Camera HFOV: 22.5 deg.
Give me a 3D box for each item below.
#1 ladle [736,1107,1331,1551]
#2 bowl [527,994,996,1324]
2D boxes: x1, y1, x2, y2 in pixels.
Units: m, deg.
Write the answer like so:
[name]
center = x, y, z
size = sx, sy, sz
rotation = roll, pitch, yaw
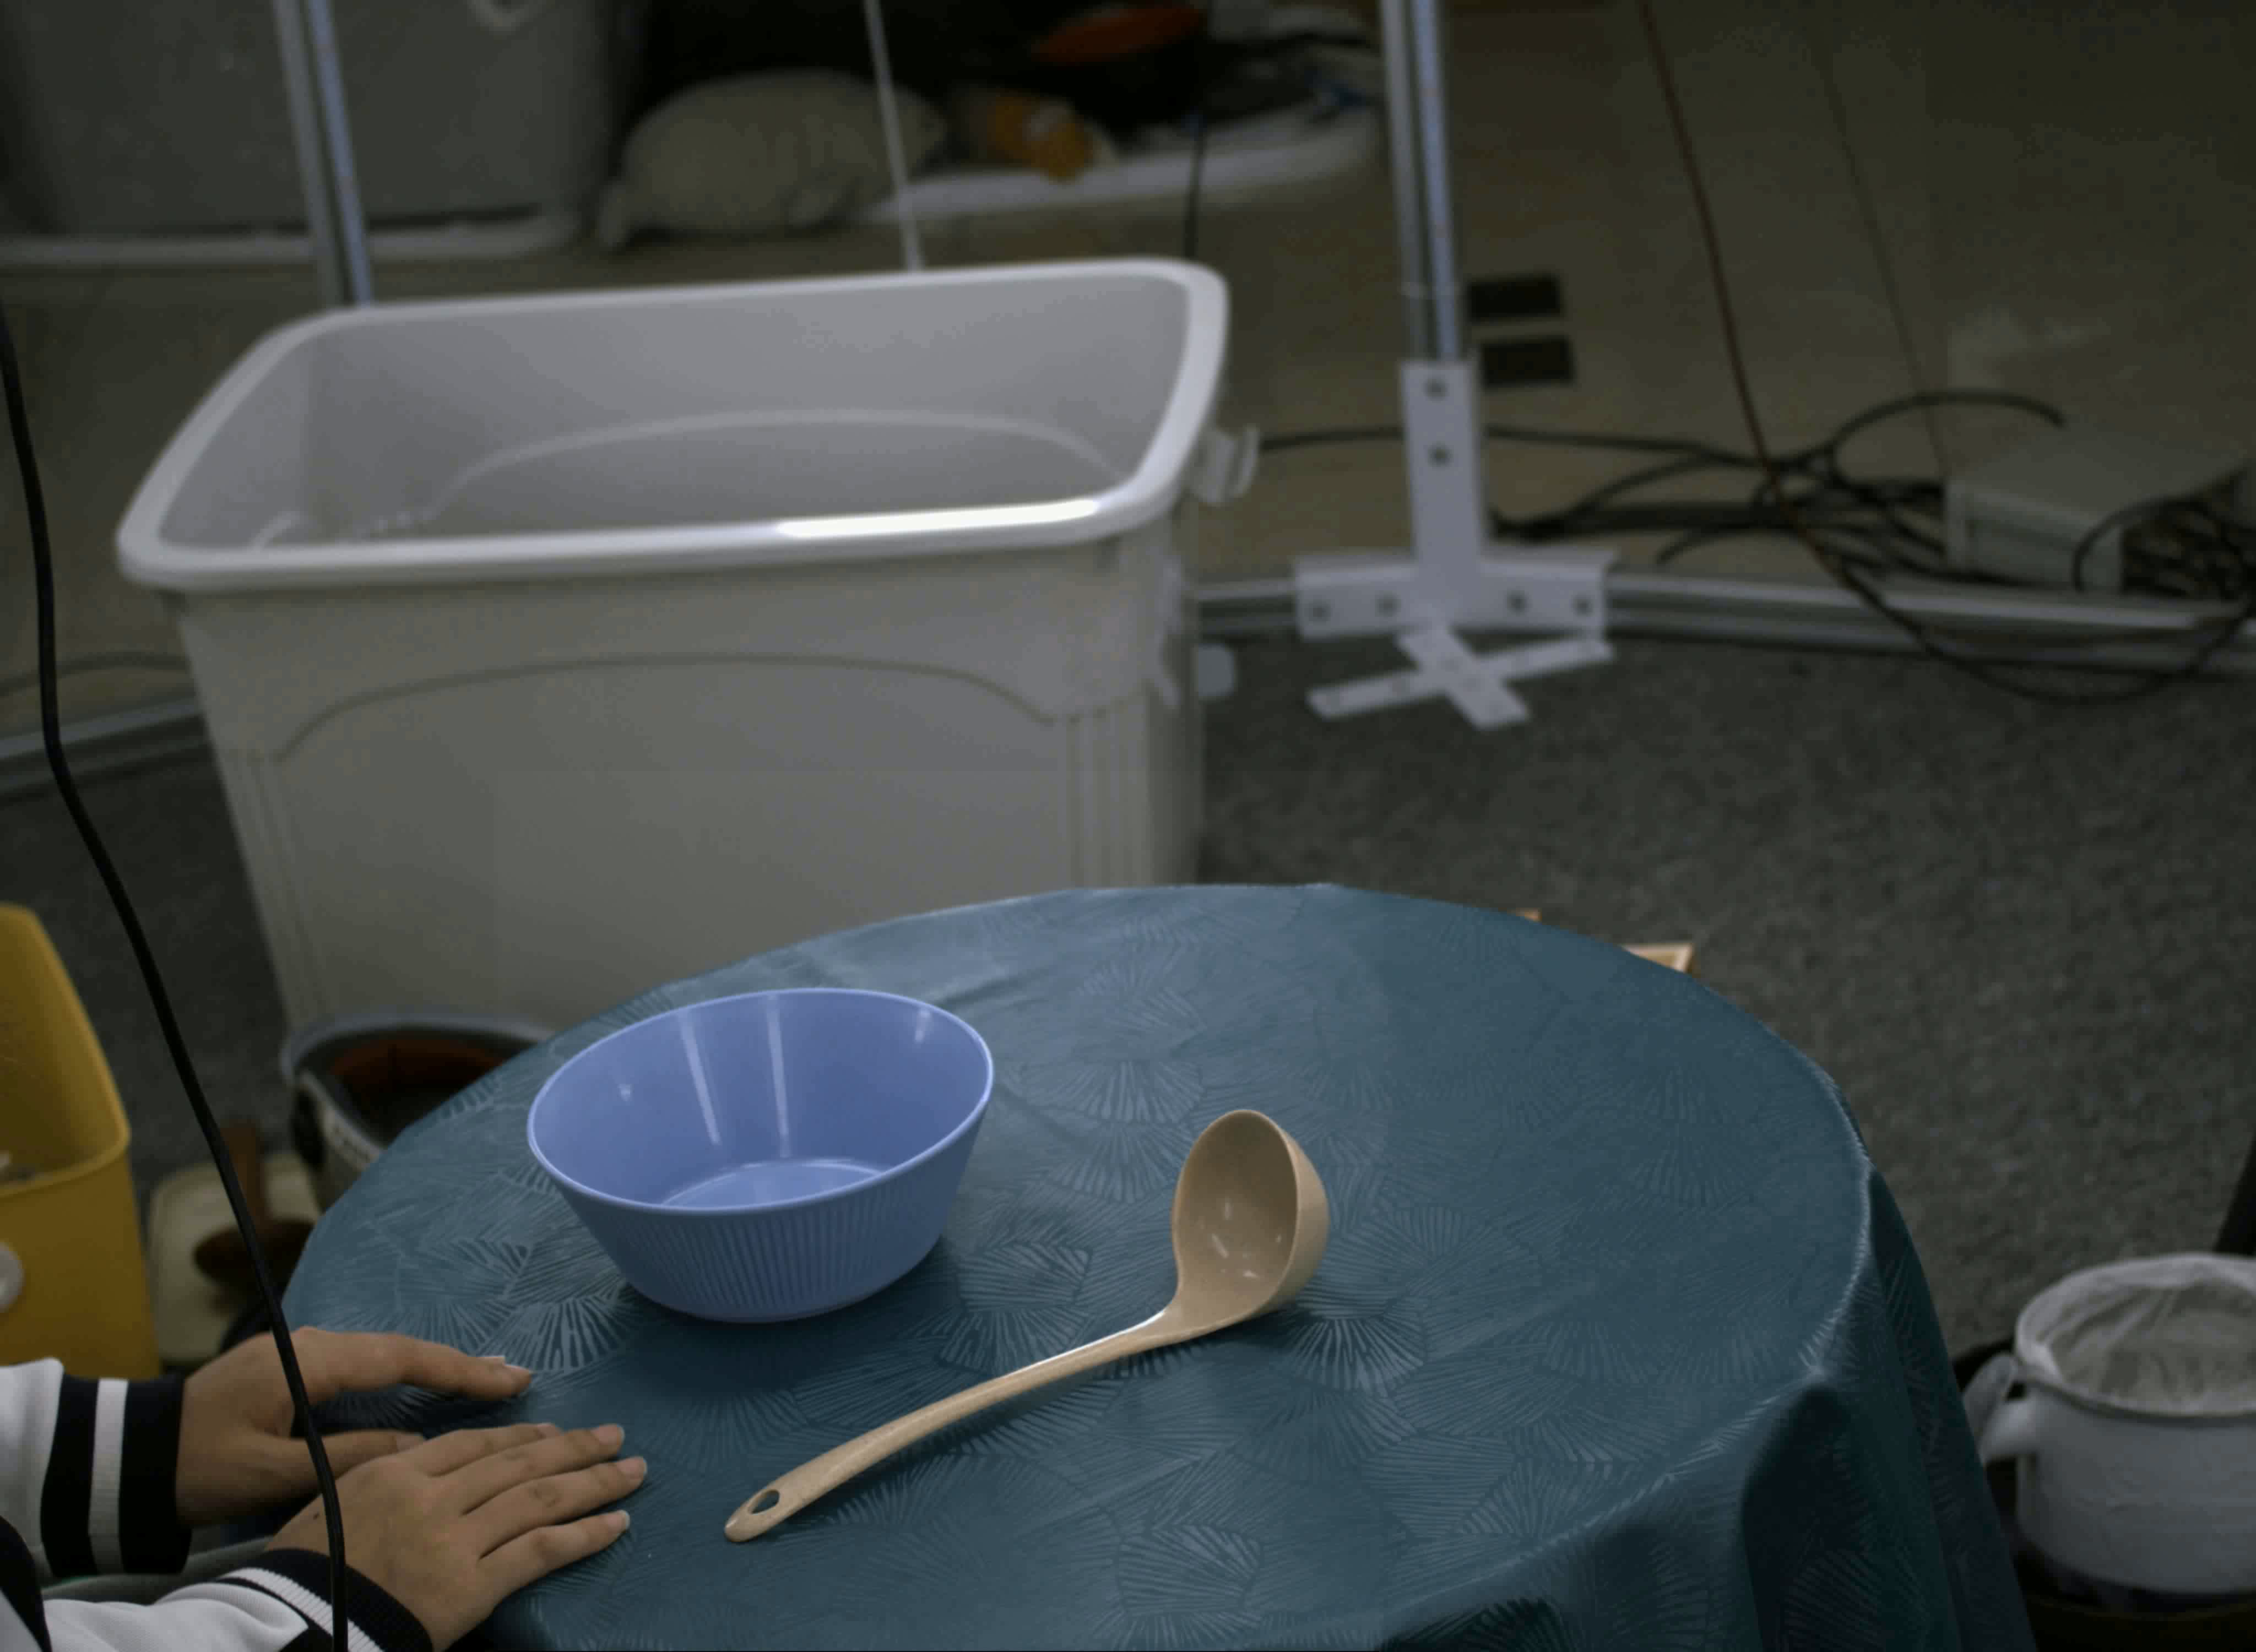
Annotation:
[ladle]
center = -0.038, 0.173, 1.997
size = 0.252, 0.074, 0.071
rotation = -23, 30, -31
[bowl]
center = -0.132, 0.130, 2.116
size = 0.176, 0.071, 0.173
rotation = -6, 24, 3
